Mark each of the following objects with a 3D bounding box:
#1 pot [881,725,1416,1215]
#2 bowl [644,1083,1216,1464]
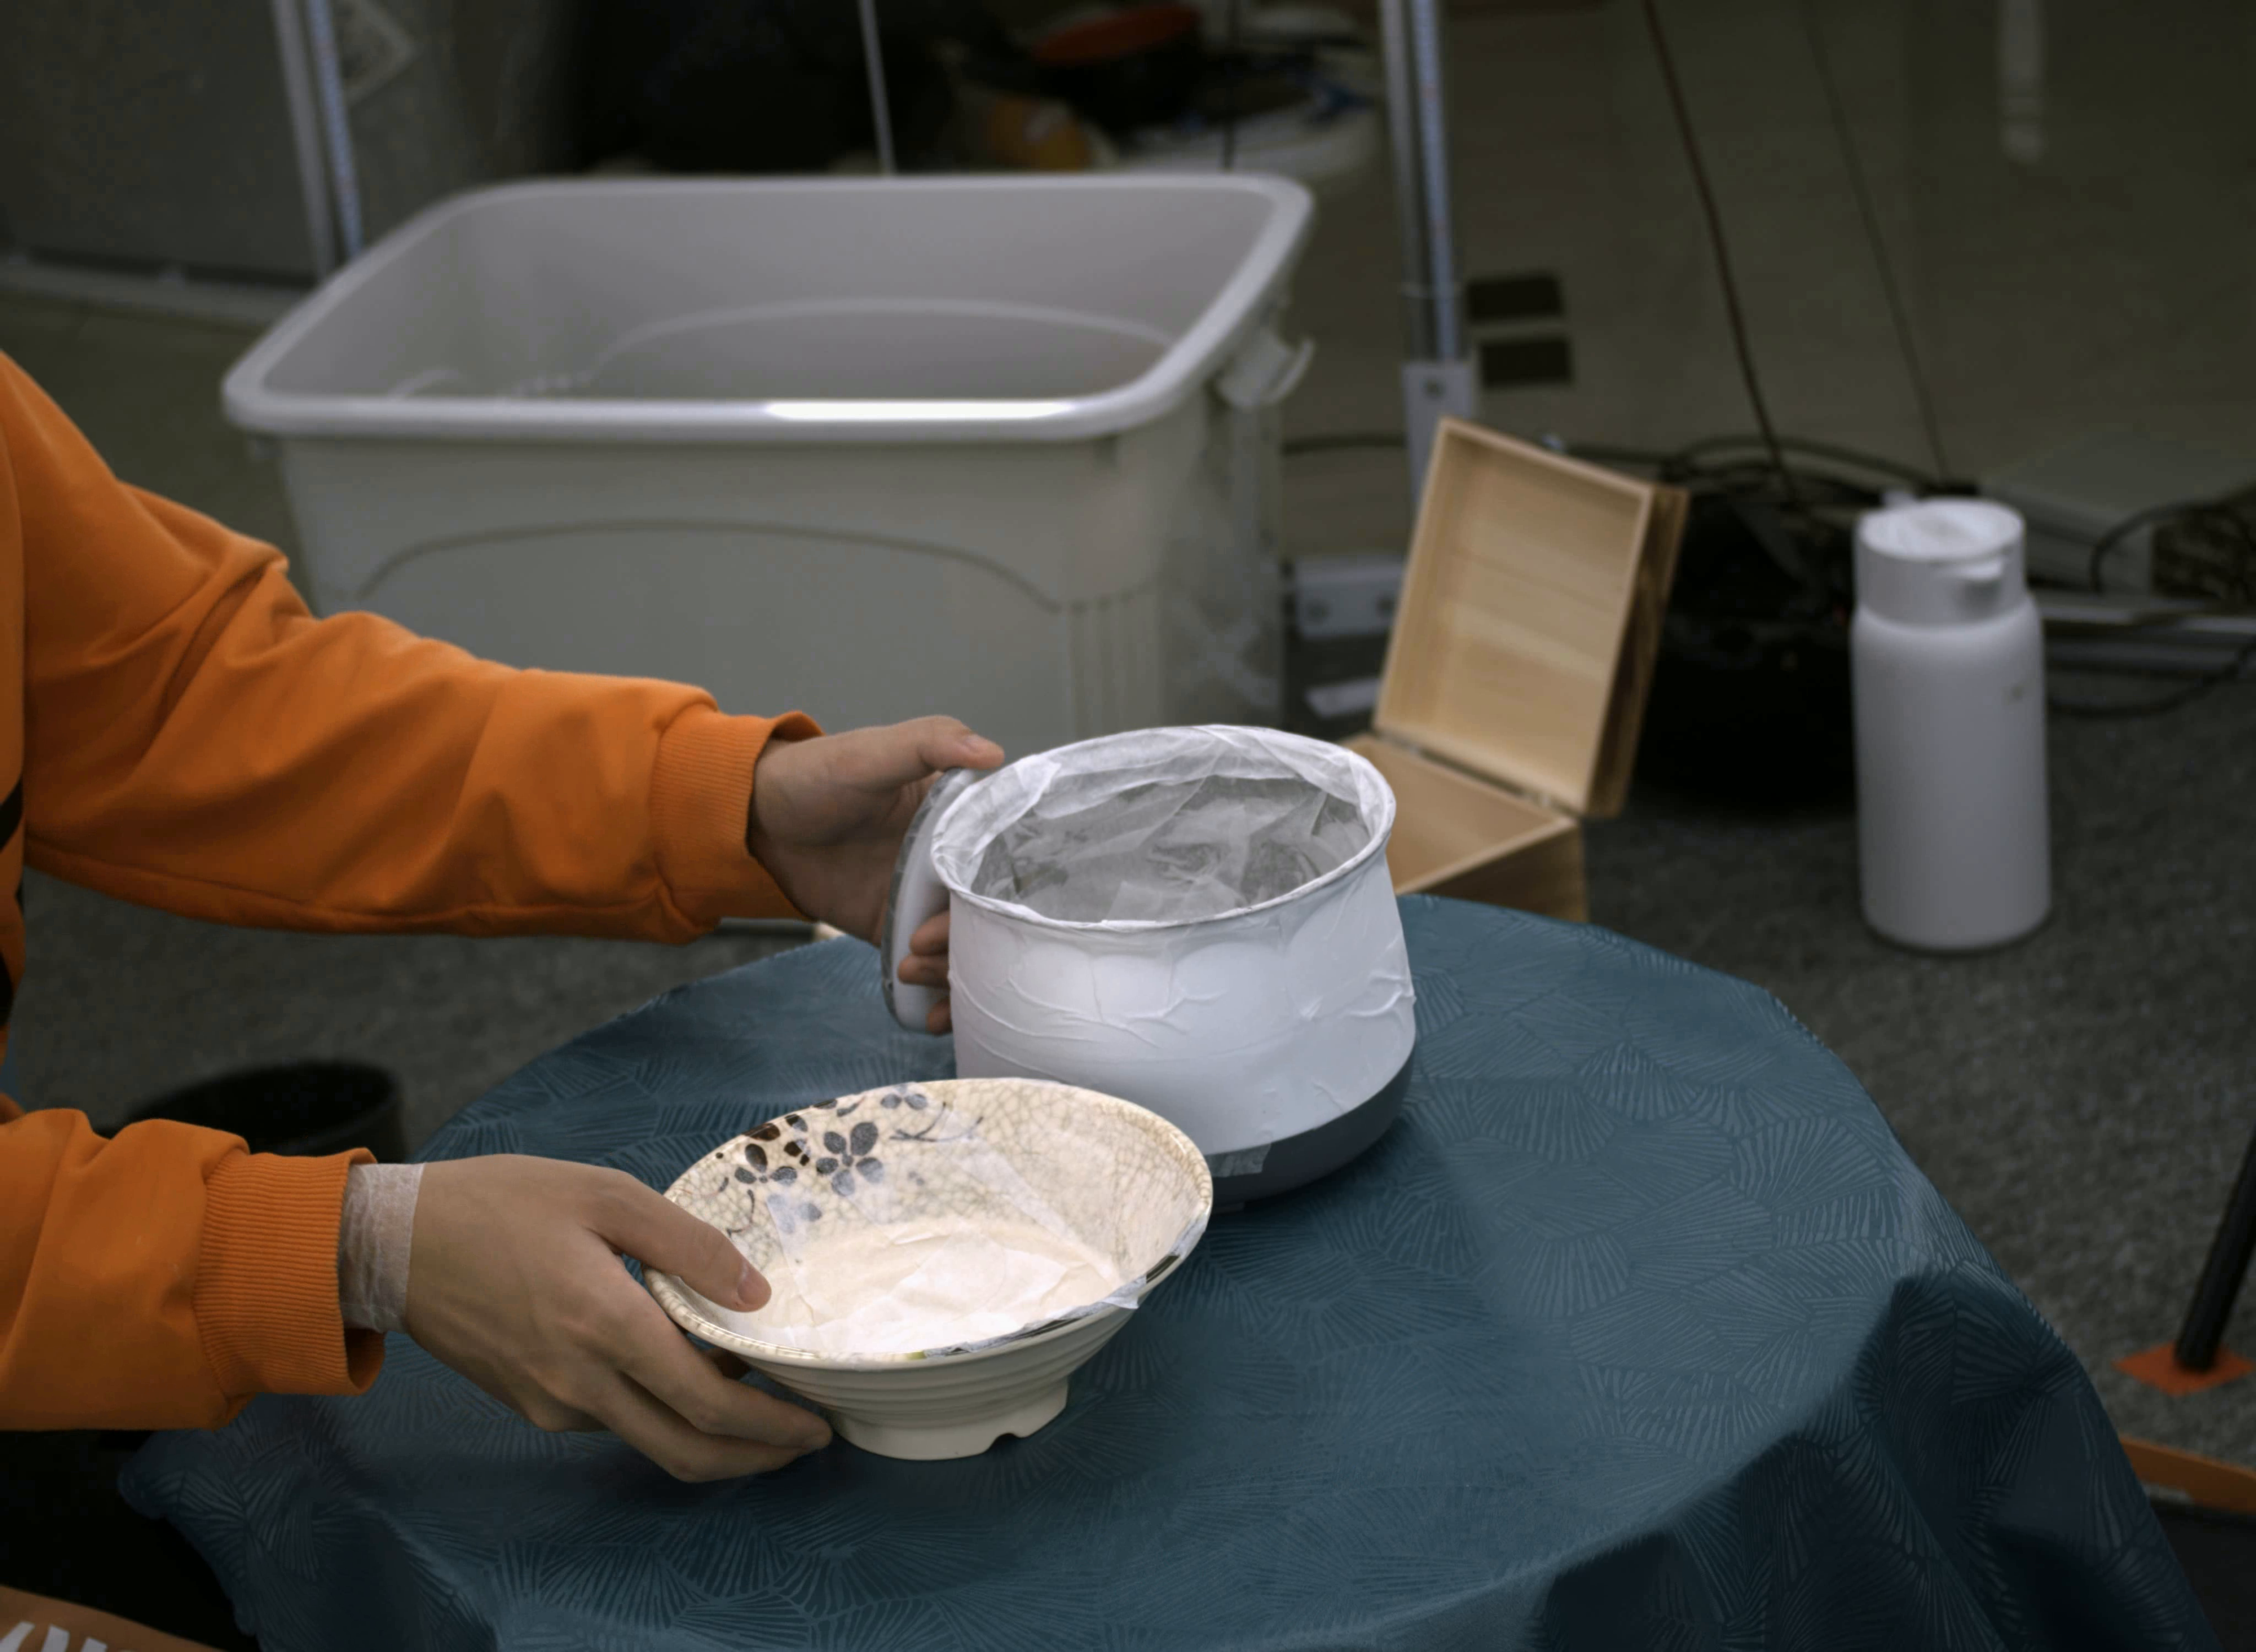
[{"bbox_3d":[-0.003,0.051,2.172,0.232,0.139,0.177,13,31,35],"label":"pot"},{"bbox_3d":[-0.065,0.170,2.007,0.204,0.079,0.201,-7,25,3],"label":"bowl"}]
